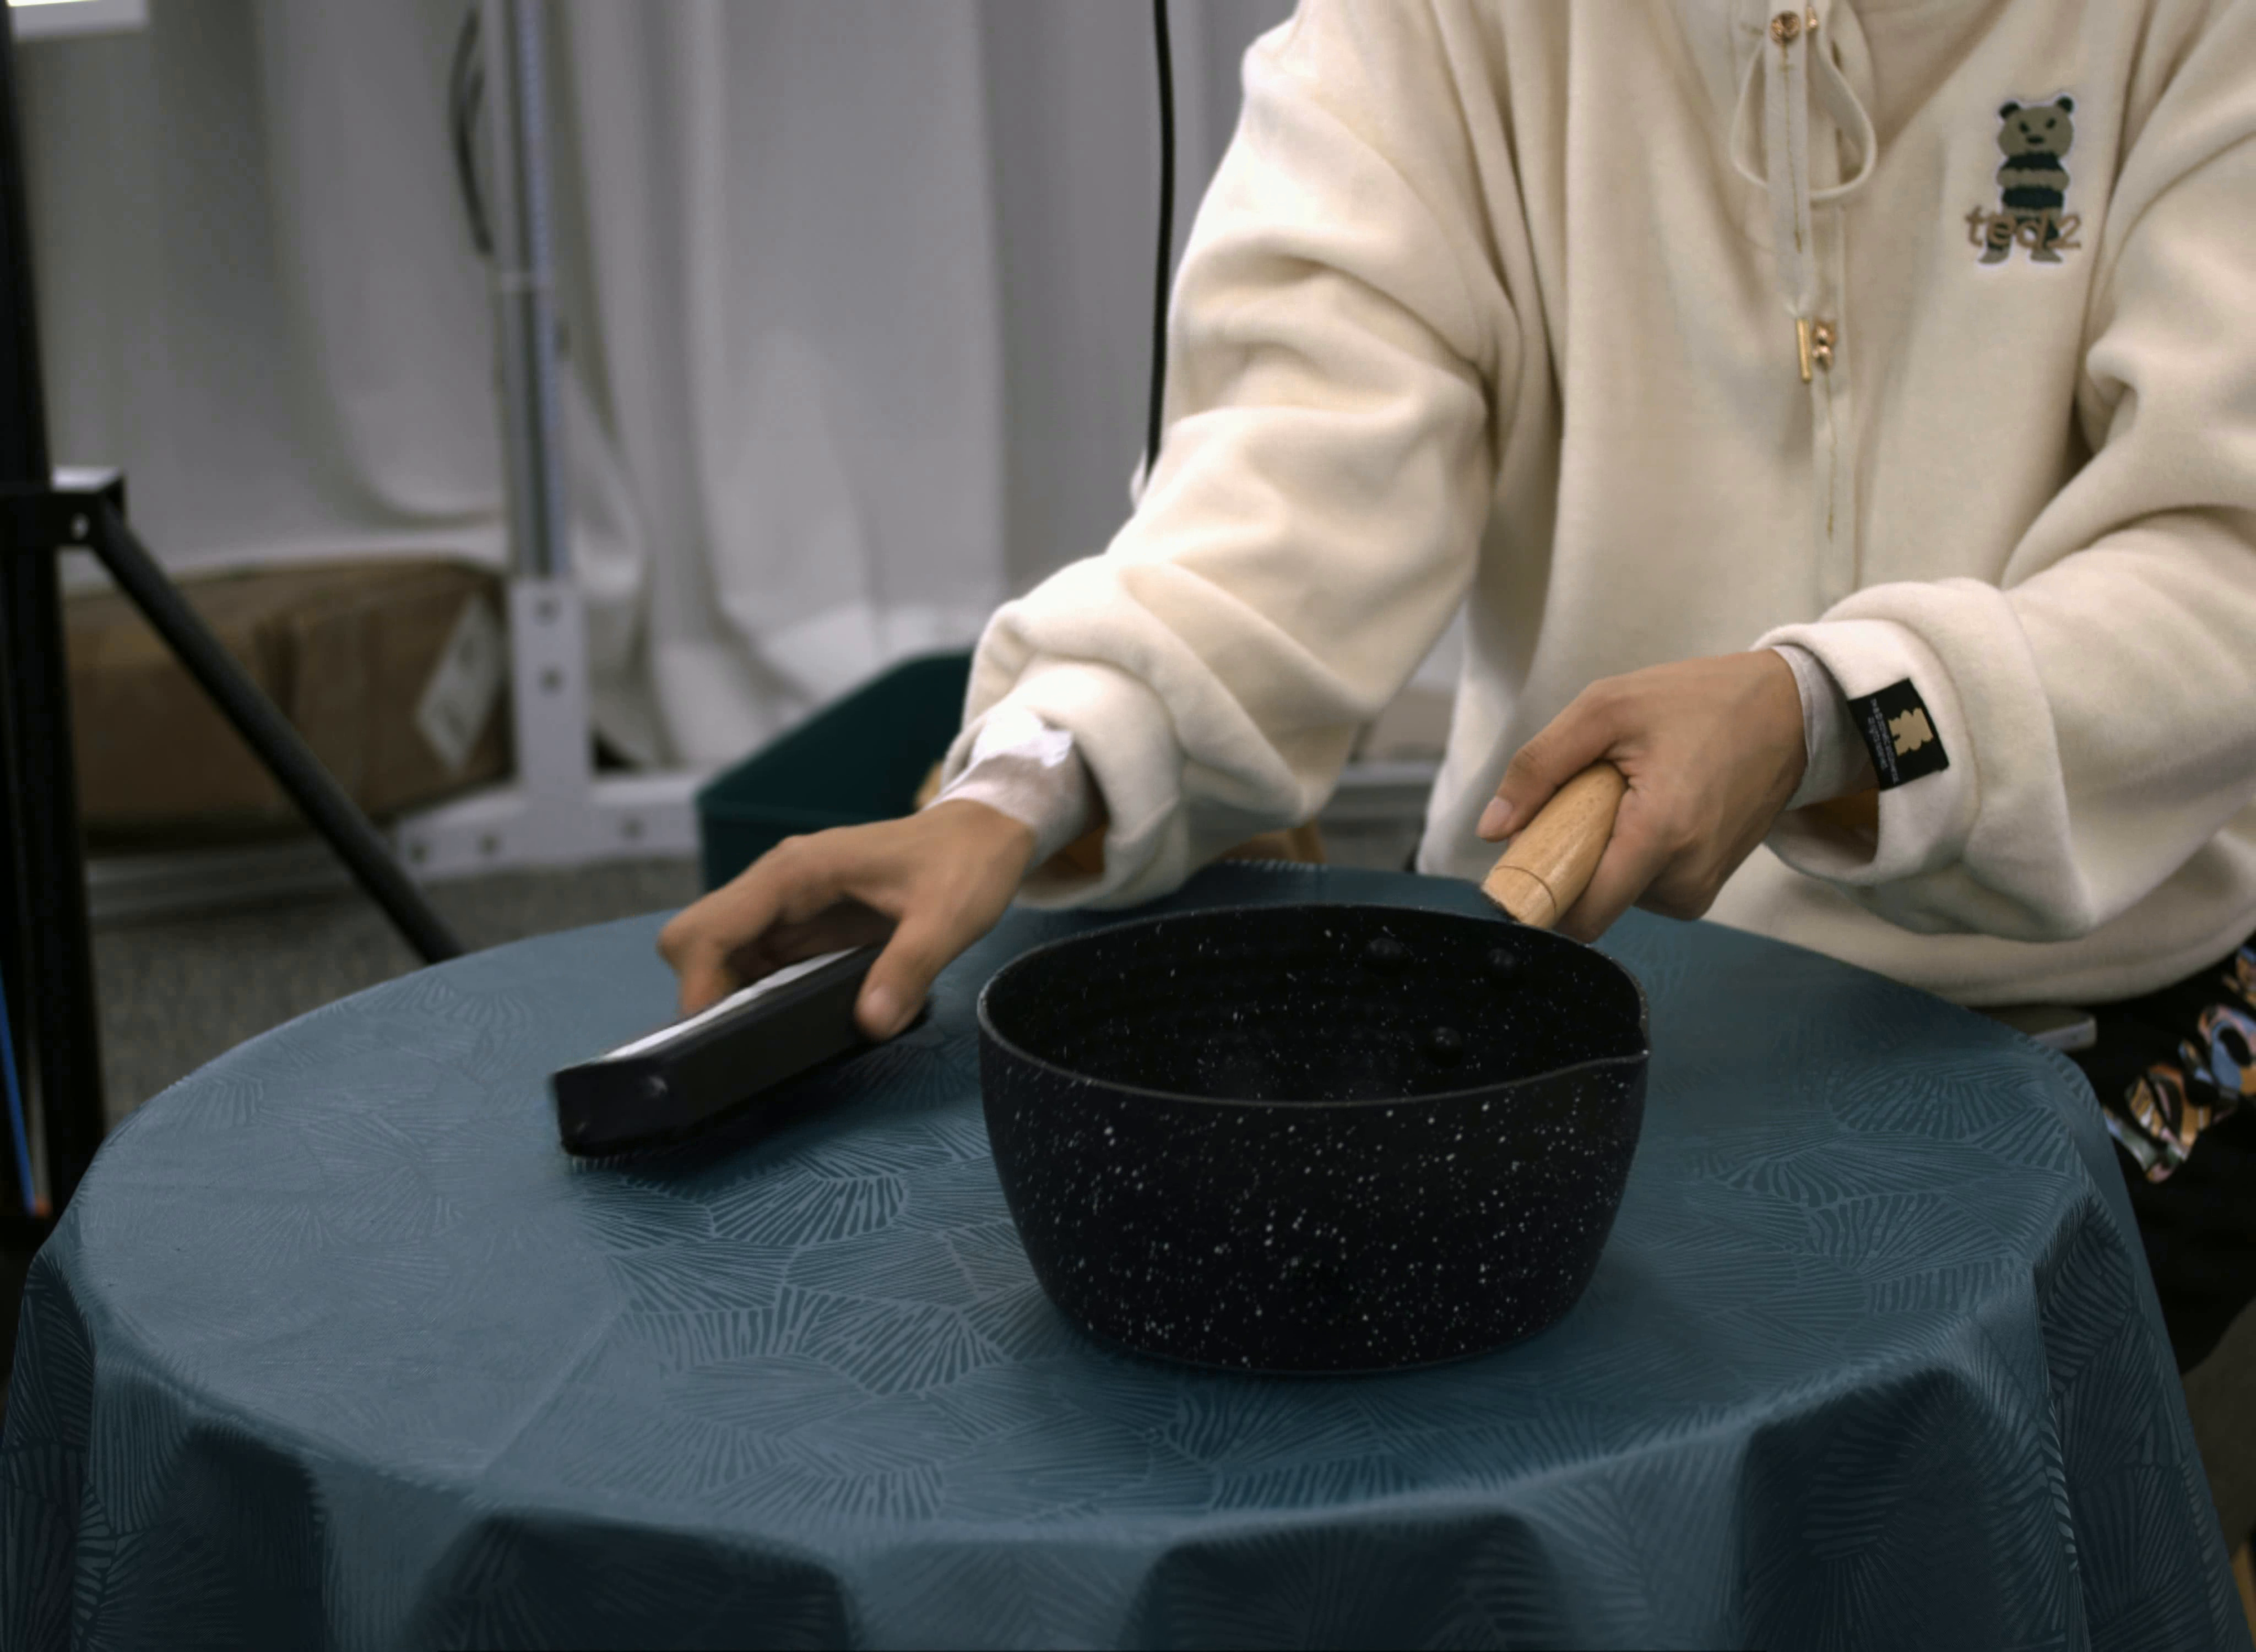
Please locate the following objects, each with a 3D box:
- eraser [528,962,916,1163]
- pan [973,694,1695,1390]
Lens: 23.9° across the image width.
[{"bbox_3d":[-0.122,0.072,1.632,0.054,0.030,0.123,-6,11,40],"label":"eraser"},{"bbox_3d":[0.087,0.057,1.523,0.211,0.108,0.337,5,19,28],"label":"pan"}]
